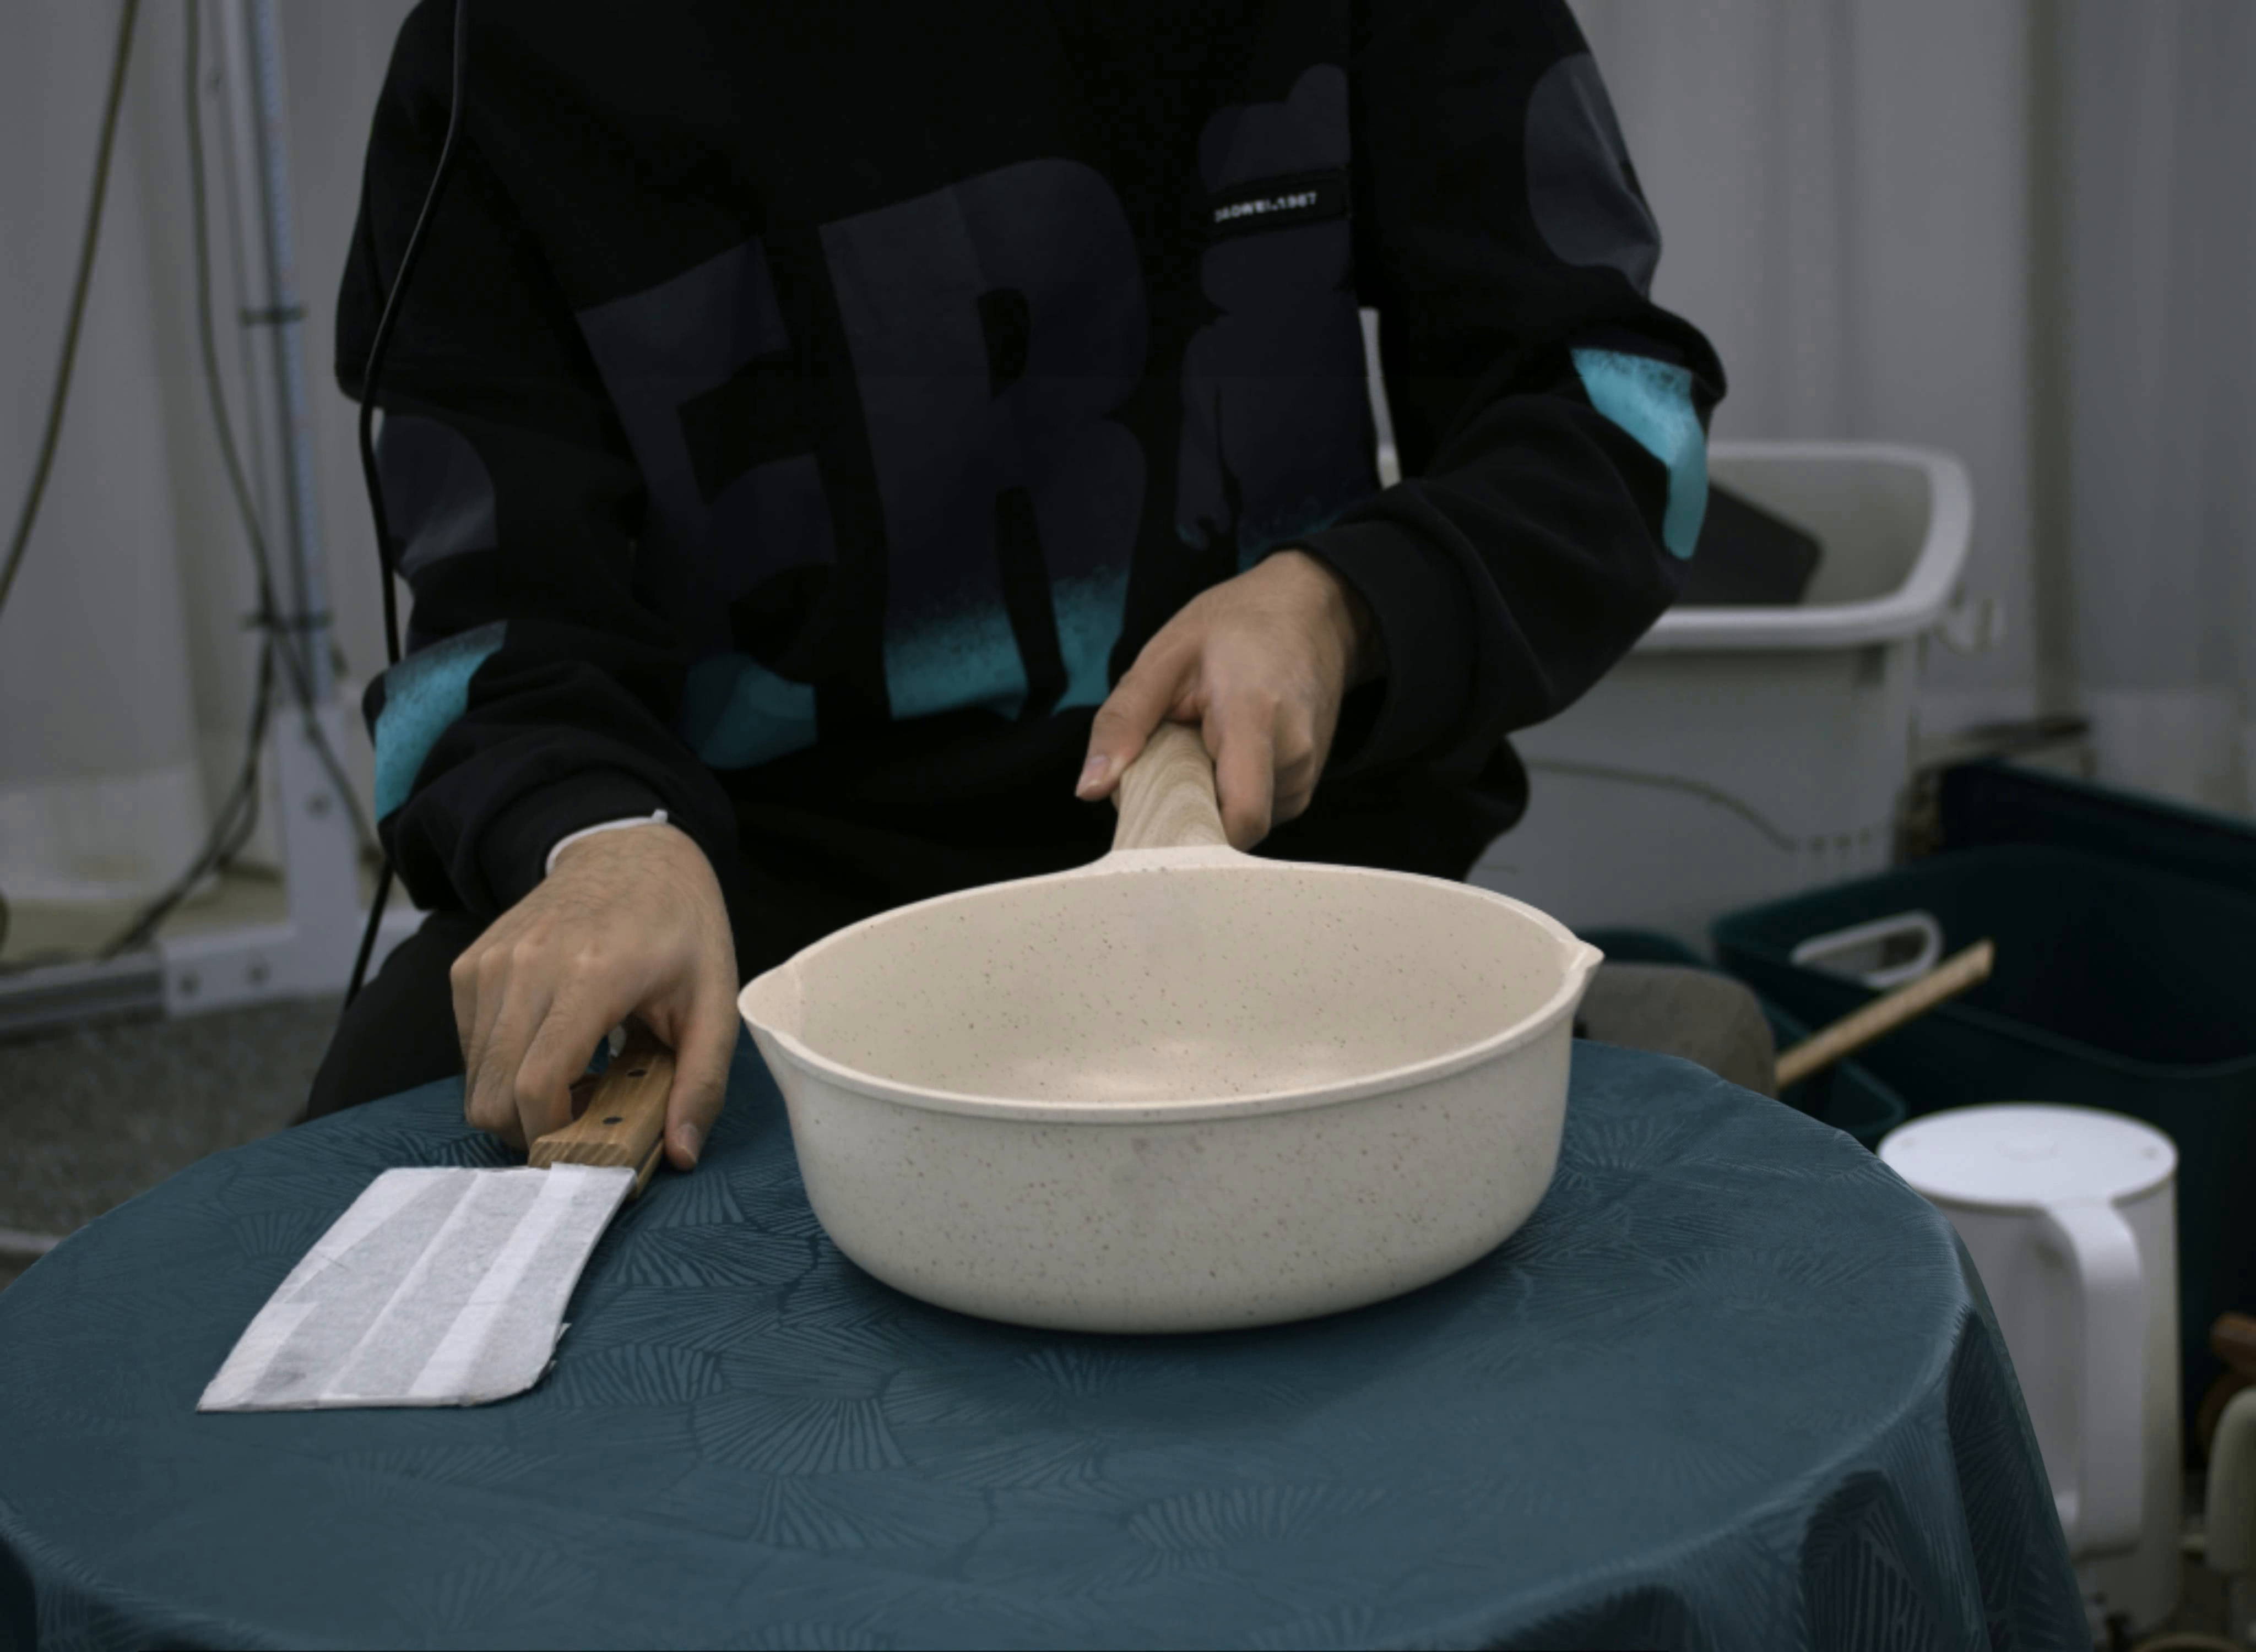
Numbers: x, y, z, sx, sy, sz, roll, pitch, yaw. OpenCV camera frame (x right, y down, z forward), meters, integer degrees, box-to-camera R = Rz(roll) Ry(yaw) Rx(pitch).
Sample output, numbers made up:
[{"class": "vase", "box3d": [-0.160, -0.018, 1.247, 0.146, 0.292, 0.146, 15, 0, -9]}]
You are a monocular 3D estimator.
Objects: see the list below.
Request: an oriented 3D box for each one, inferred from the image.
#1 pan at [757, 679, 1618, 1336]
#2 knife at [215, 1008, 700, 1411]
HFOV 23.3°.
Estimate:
[{"class": "pan", "box3d": [0.019, 0.053, 1.752, 0.262, 0.101, 0.438, -5, 15, 0]}, {"class": "knife", "box3d": [-0.190, 0.119, 1.703, 0.114, 0.021, 0.317, 0, 18, 14]}]
